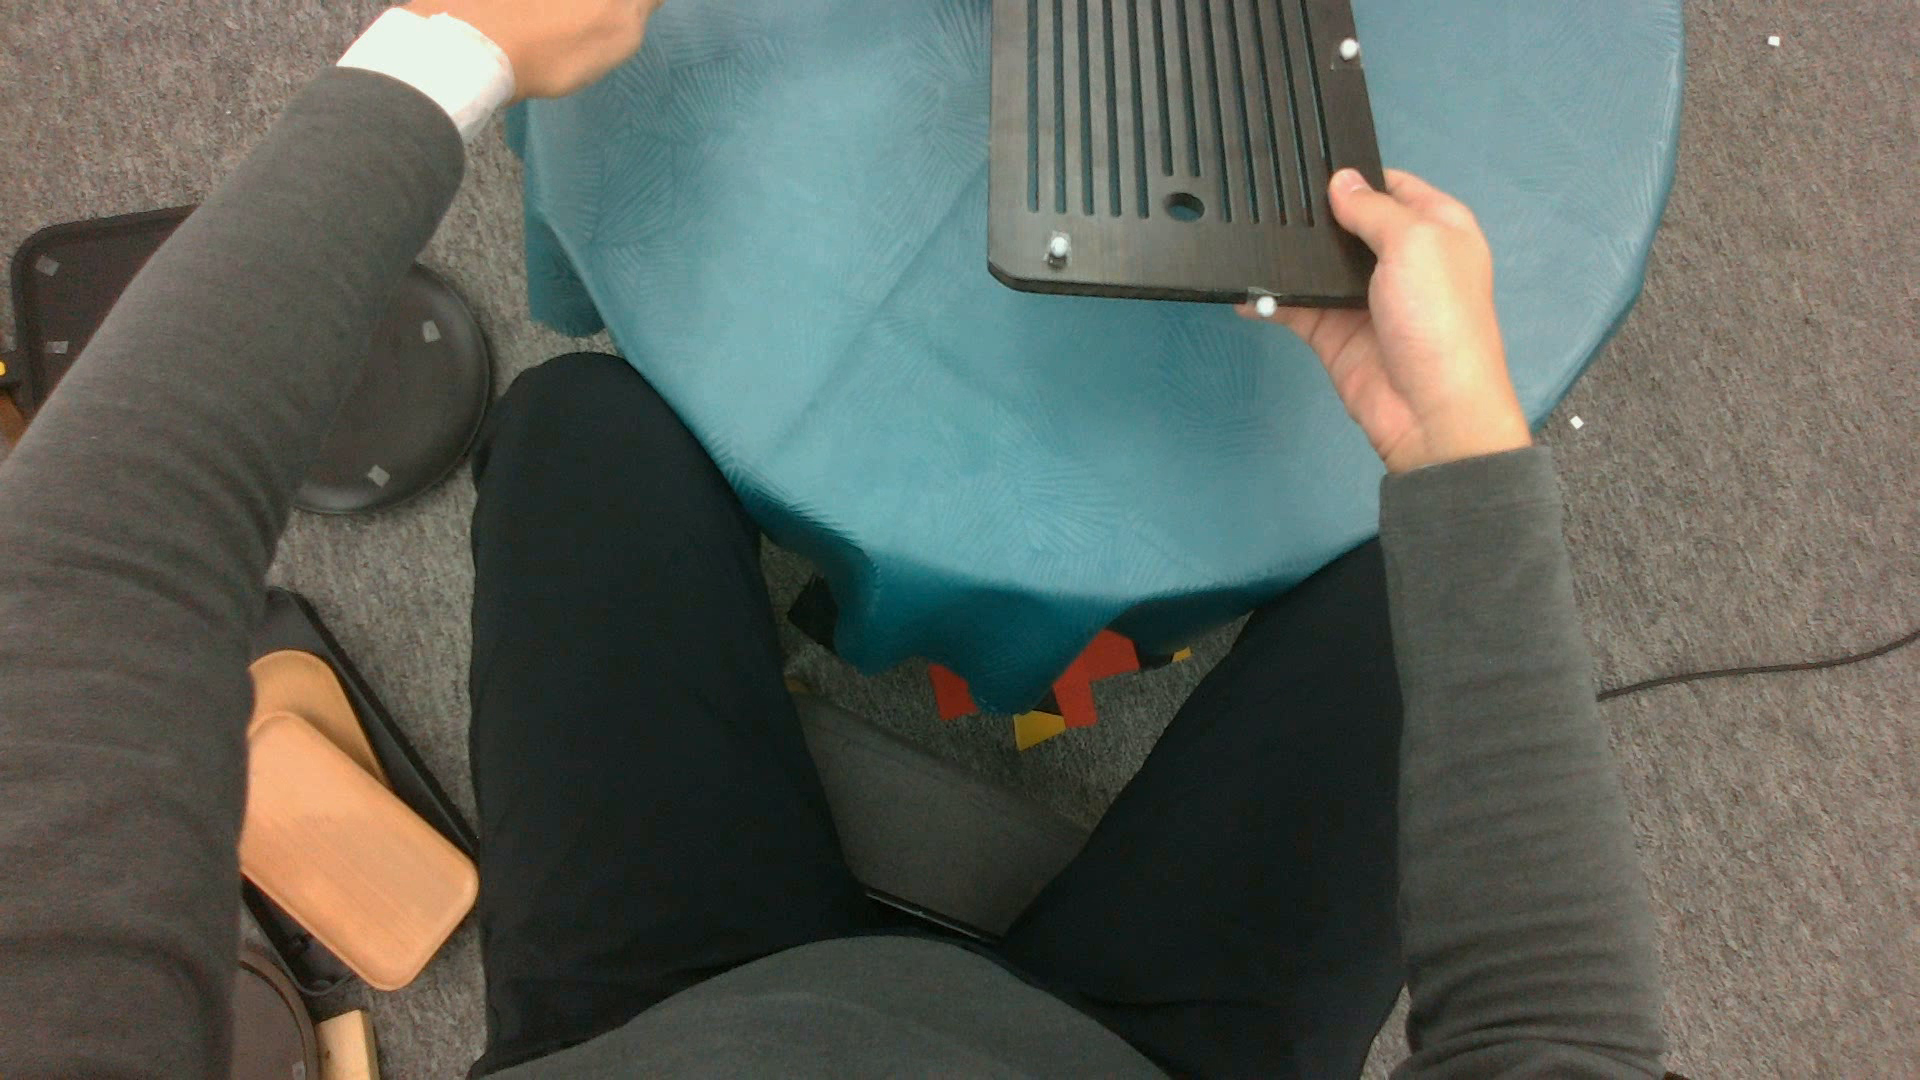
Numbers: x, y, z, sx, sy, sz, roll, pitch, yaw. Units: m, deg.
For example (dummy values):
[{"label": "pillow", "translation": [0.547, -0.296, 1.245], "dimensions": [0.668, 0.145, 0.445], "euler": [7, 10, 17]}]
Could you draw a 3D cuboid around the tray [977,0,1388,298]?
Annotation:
[{"label": "tray", "translation": [0.092, -0.232, 0.641], "dimensions": [0.170, 0.018, 0.307], "euler": [3, 58, -3]}]
